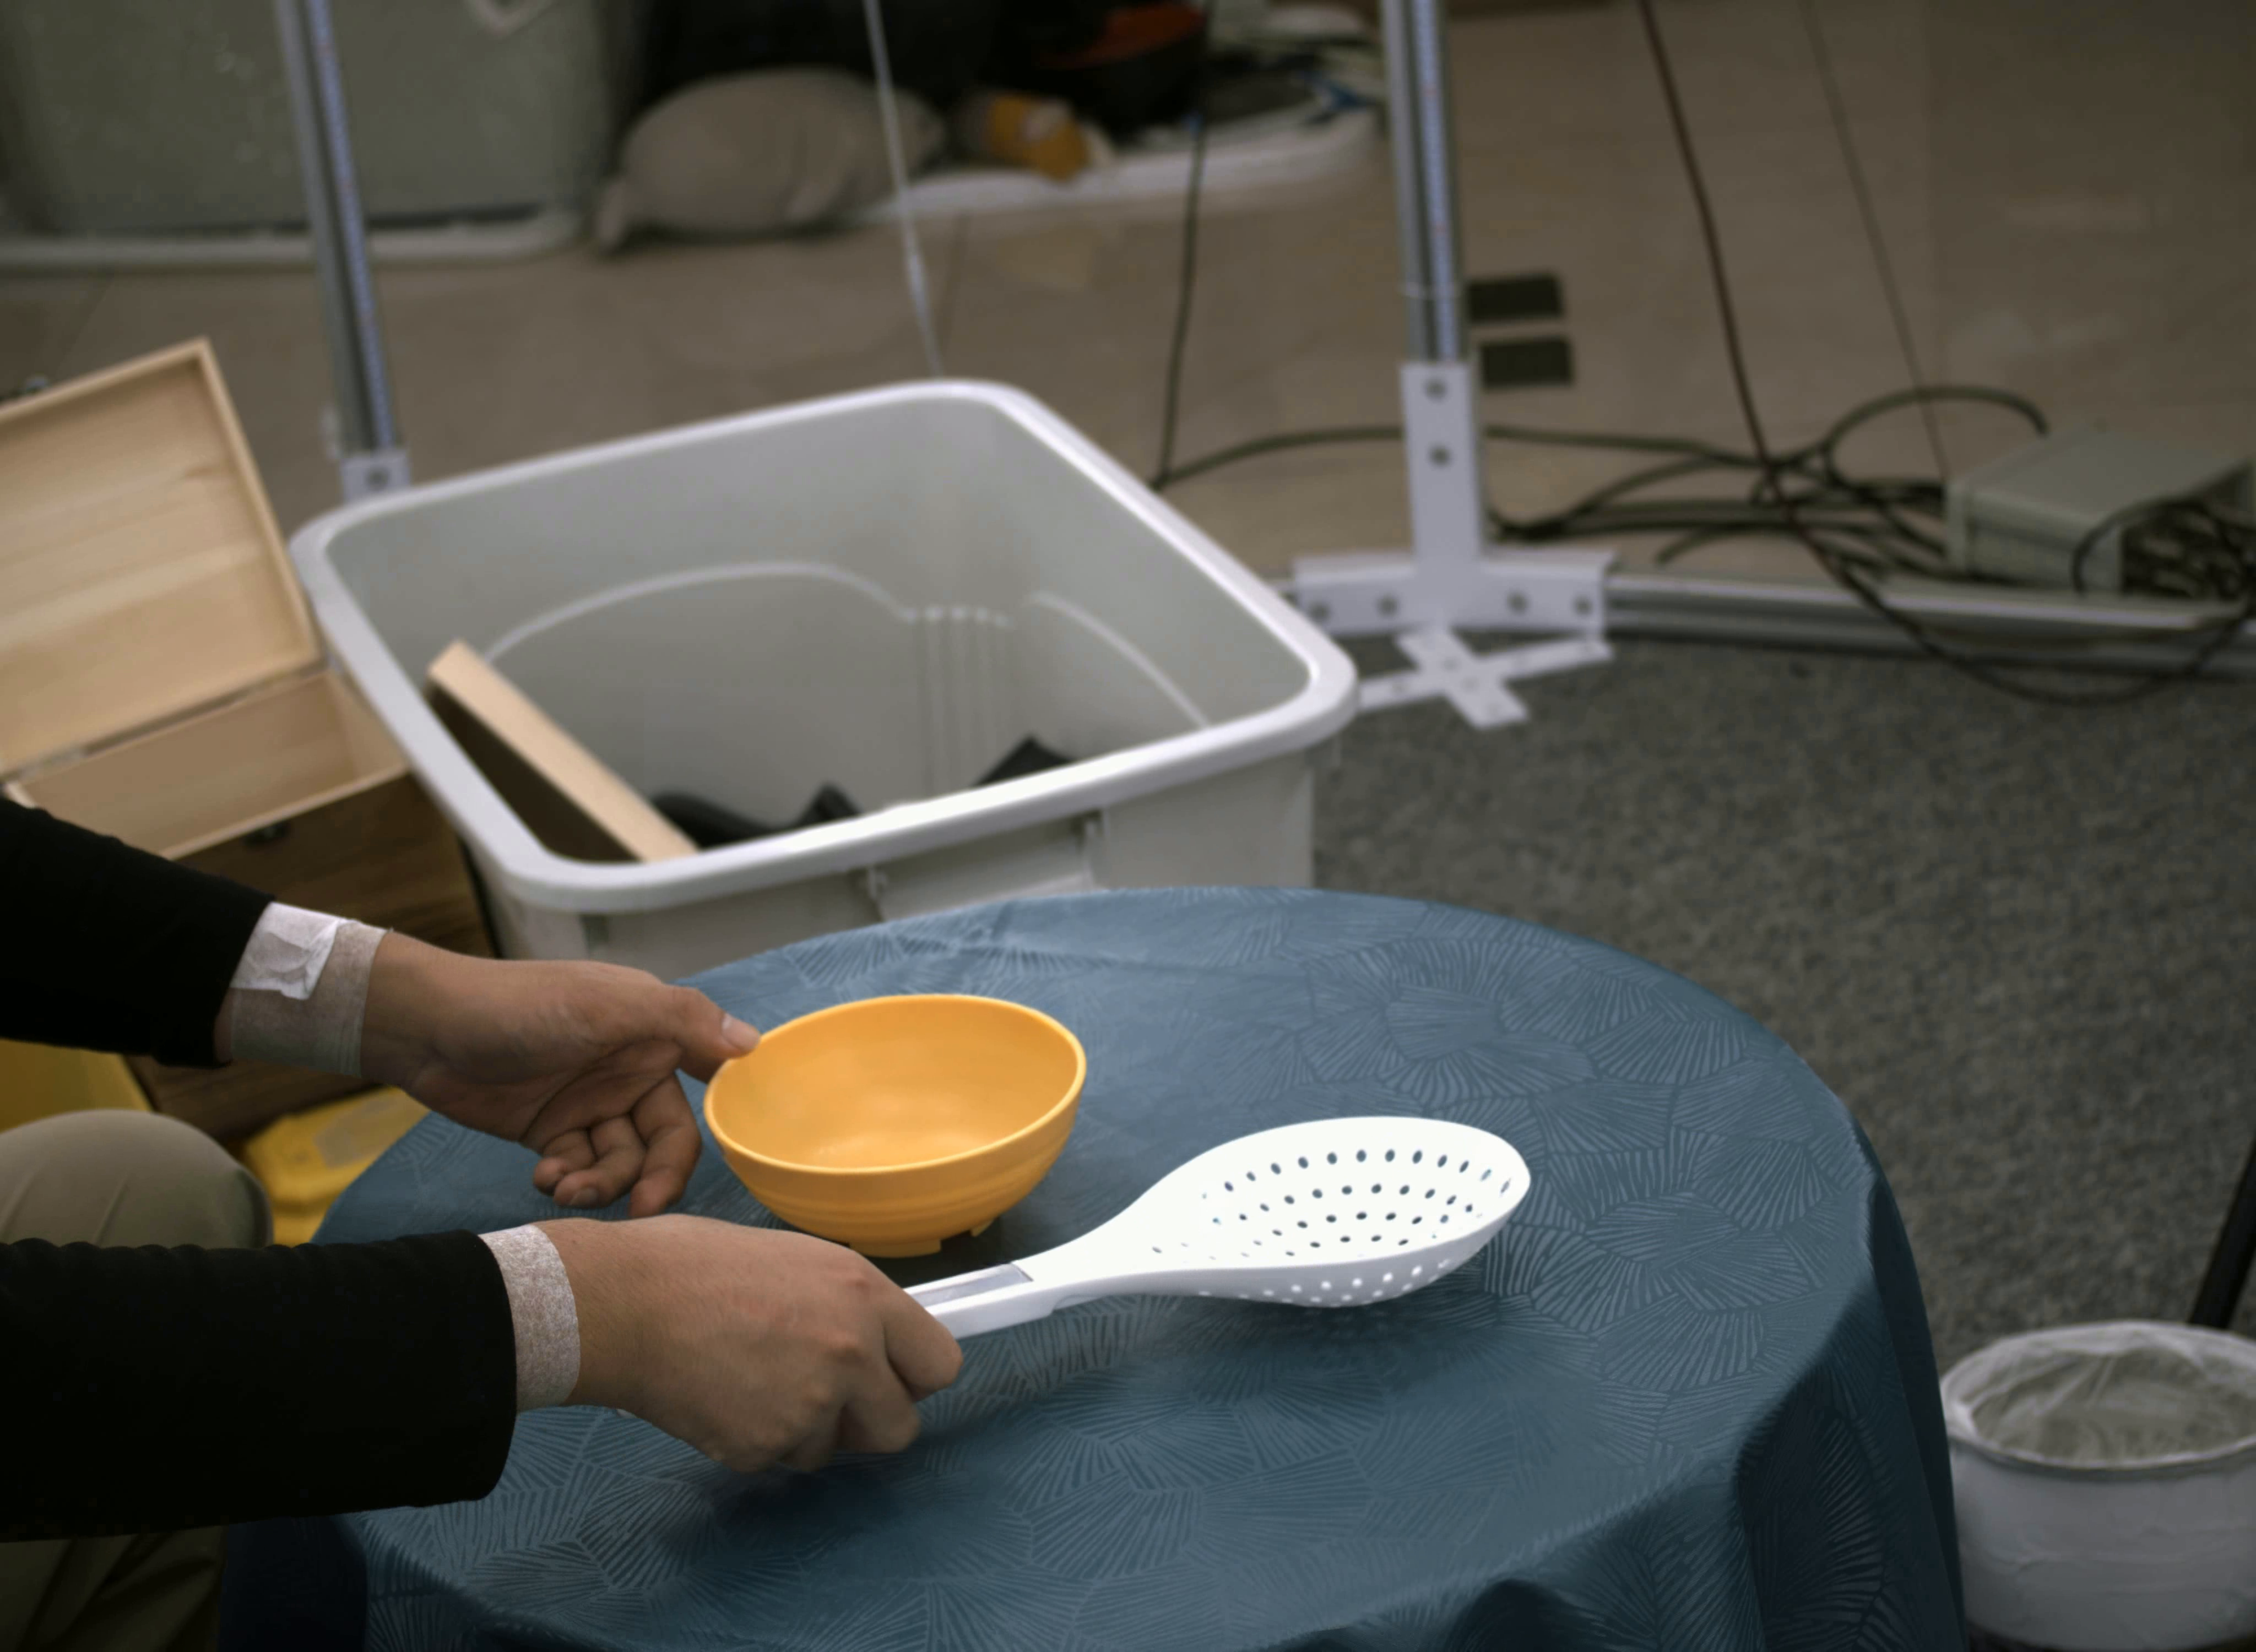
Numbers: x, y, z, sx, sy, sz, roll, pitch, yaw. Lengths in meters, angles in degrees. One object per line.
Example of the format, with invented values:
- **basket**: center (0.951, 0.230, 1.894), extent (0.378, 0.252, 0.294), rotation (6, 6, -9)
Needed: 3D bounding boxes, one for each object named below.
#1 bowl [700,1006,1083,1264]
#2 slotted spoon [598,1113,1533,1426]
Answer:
- **bowl**: center (-0.087, 0.124, 2.136), extent (0.145, 0.061, 0.143), rotation (-4, 23, 2)
- **slotted spoon**: center (-0.020, 0.161, 2.016), extent (0.349, 0.046, 0.134), rotation (-9, 20, -21)
